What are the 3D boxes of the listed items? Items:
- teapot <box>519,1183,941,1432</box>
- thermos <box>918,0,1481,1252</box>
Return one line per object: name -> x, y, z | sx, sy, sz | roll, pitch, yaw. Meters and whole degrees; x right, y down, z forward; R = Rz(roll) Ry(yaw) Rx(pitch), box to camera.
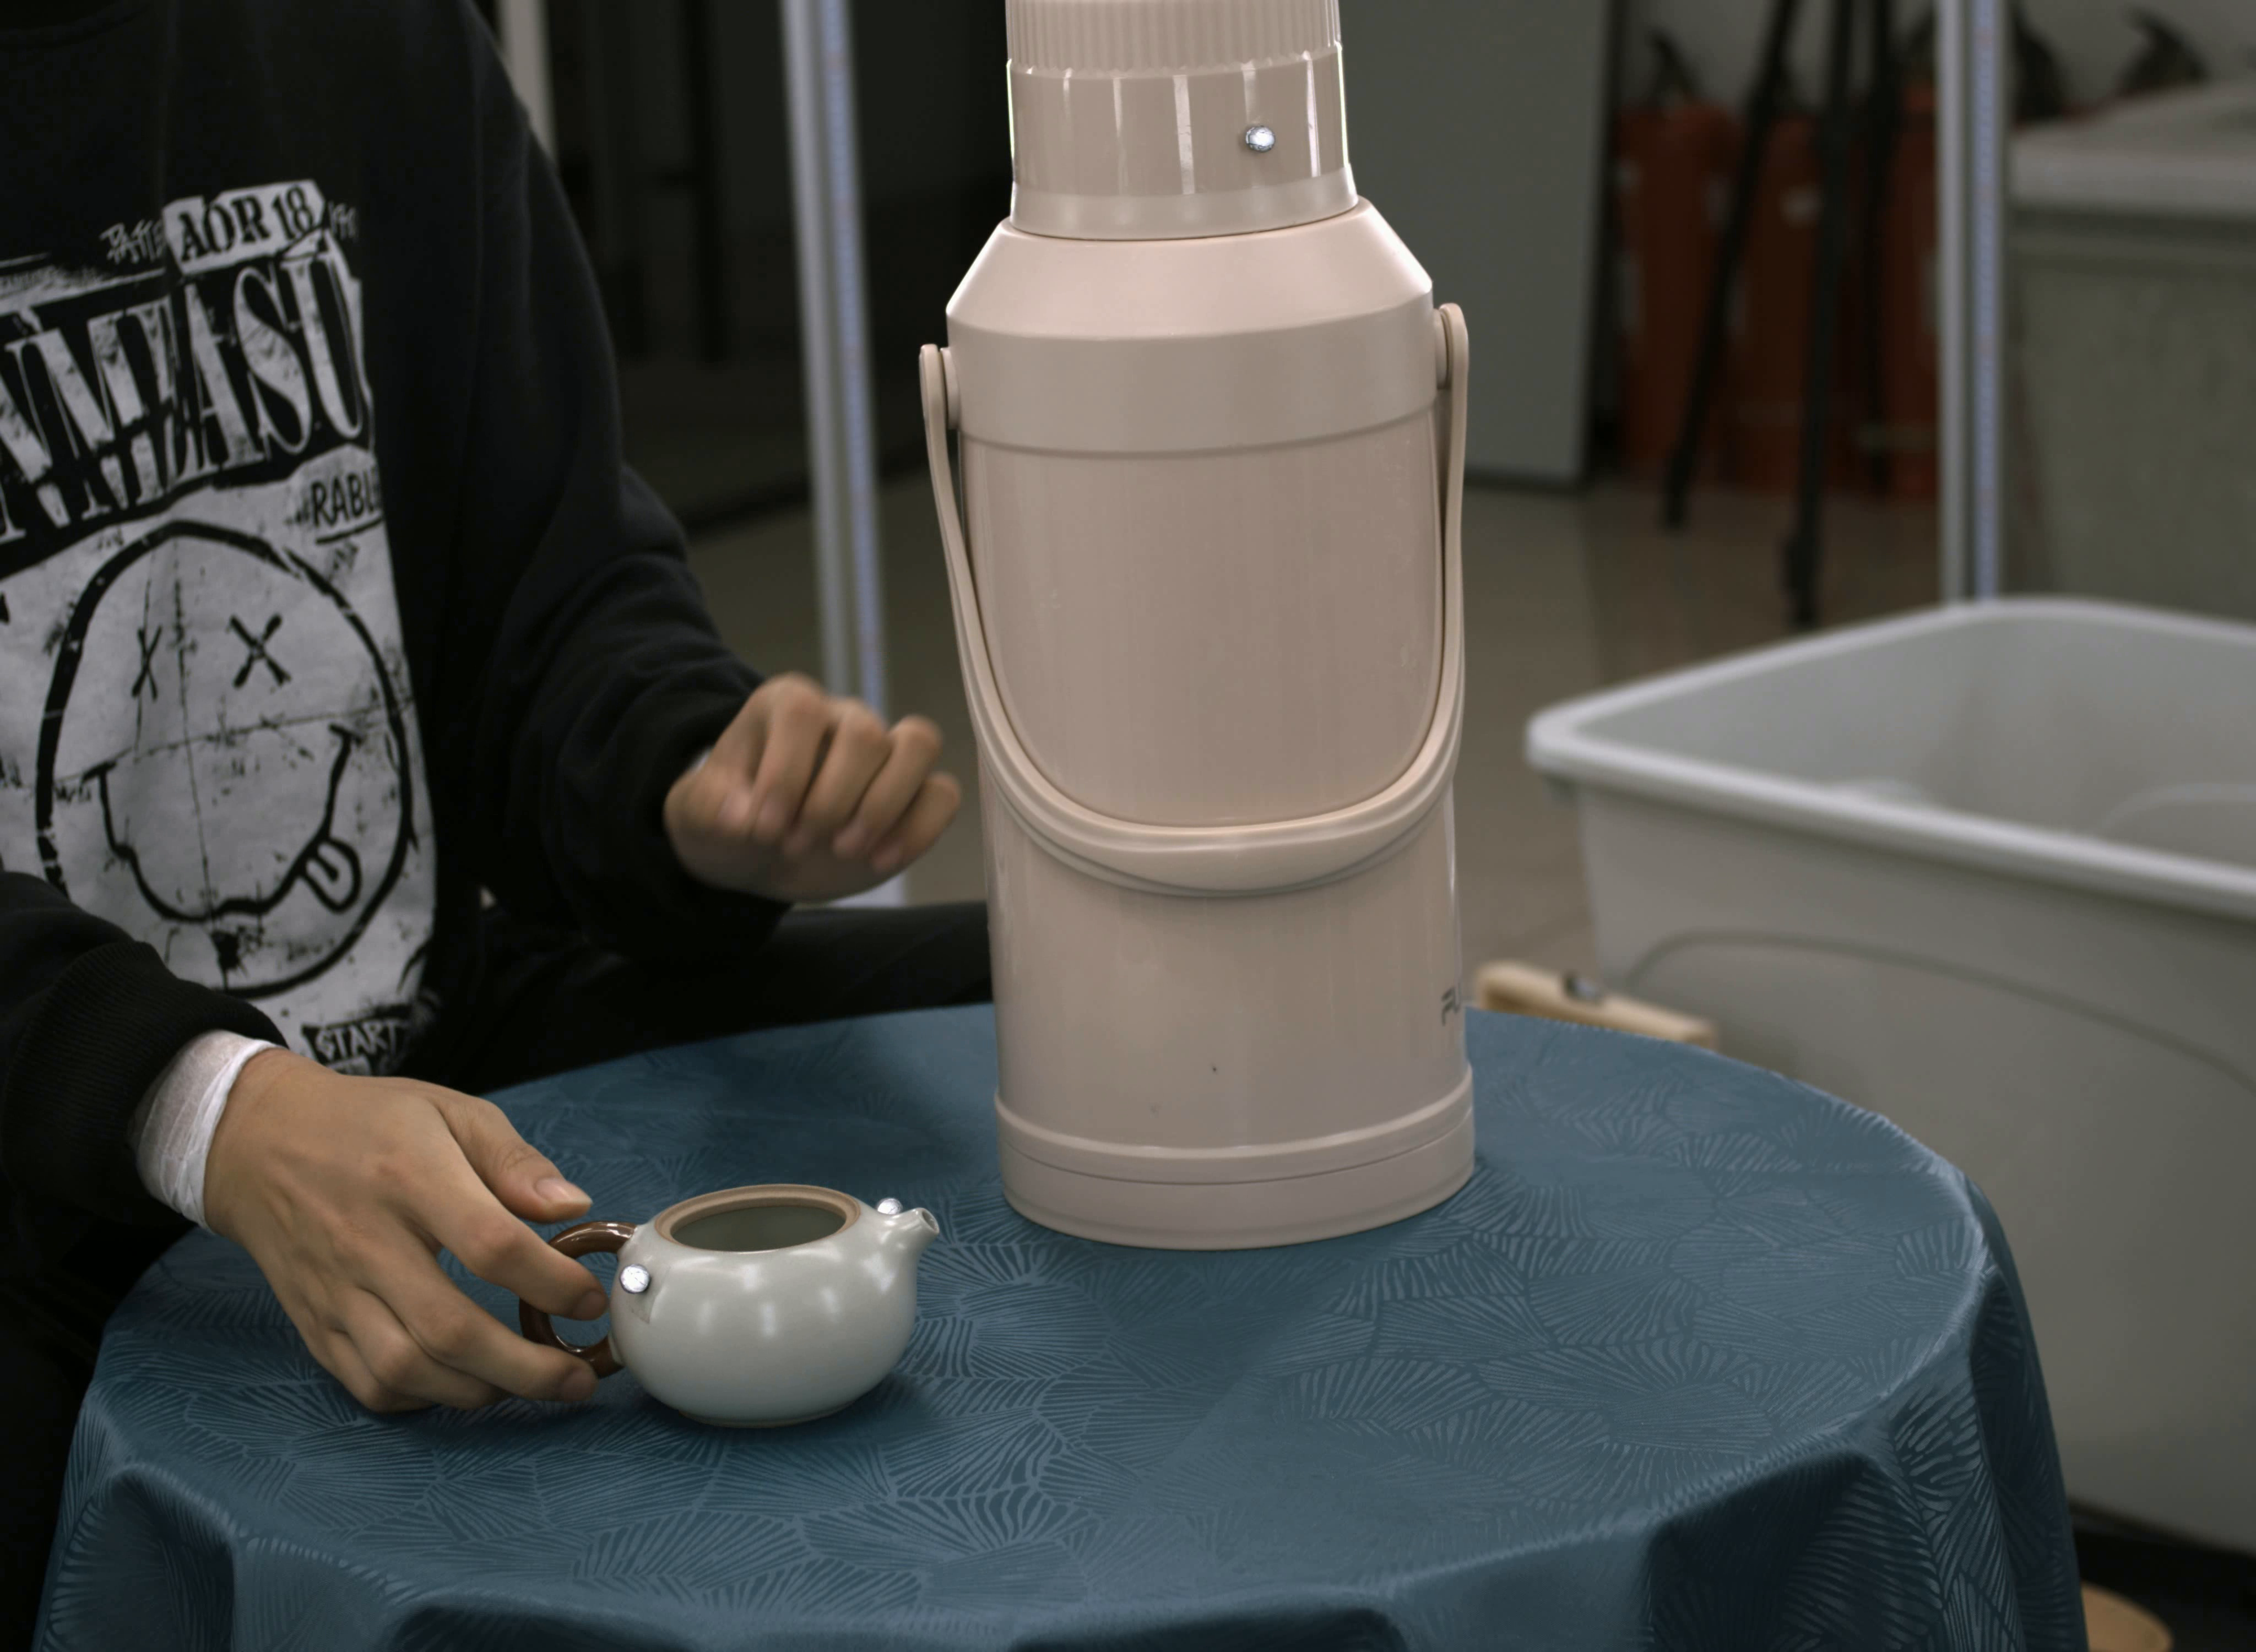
teapot -> -0.117, 0.143, 1.601 | 0.126, 0.060, 0.092 | -2, 16, 3
thermos -> 0.025, -0.082, 1.753 | 0.172, 0.410, 0.208 | -7, 14, -6
